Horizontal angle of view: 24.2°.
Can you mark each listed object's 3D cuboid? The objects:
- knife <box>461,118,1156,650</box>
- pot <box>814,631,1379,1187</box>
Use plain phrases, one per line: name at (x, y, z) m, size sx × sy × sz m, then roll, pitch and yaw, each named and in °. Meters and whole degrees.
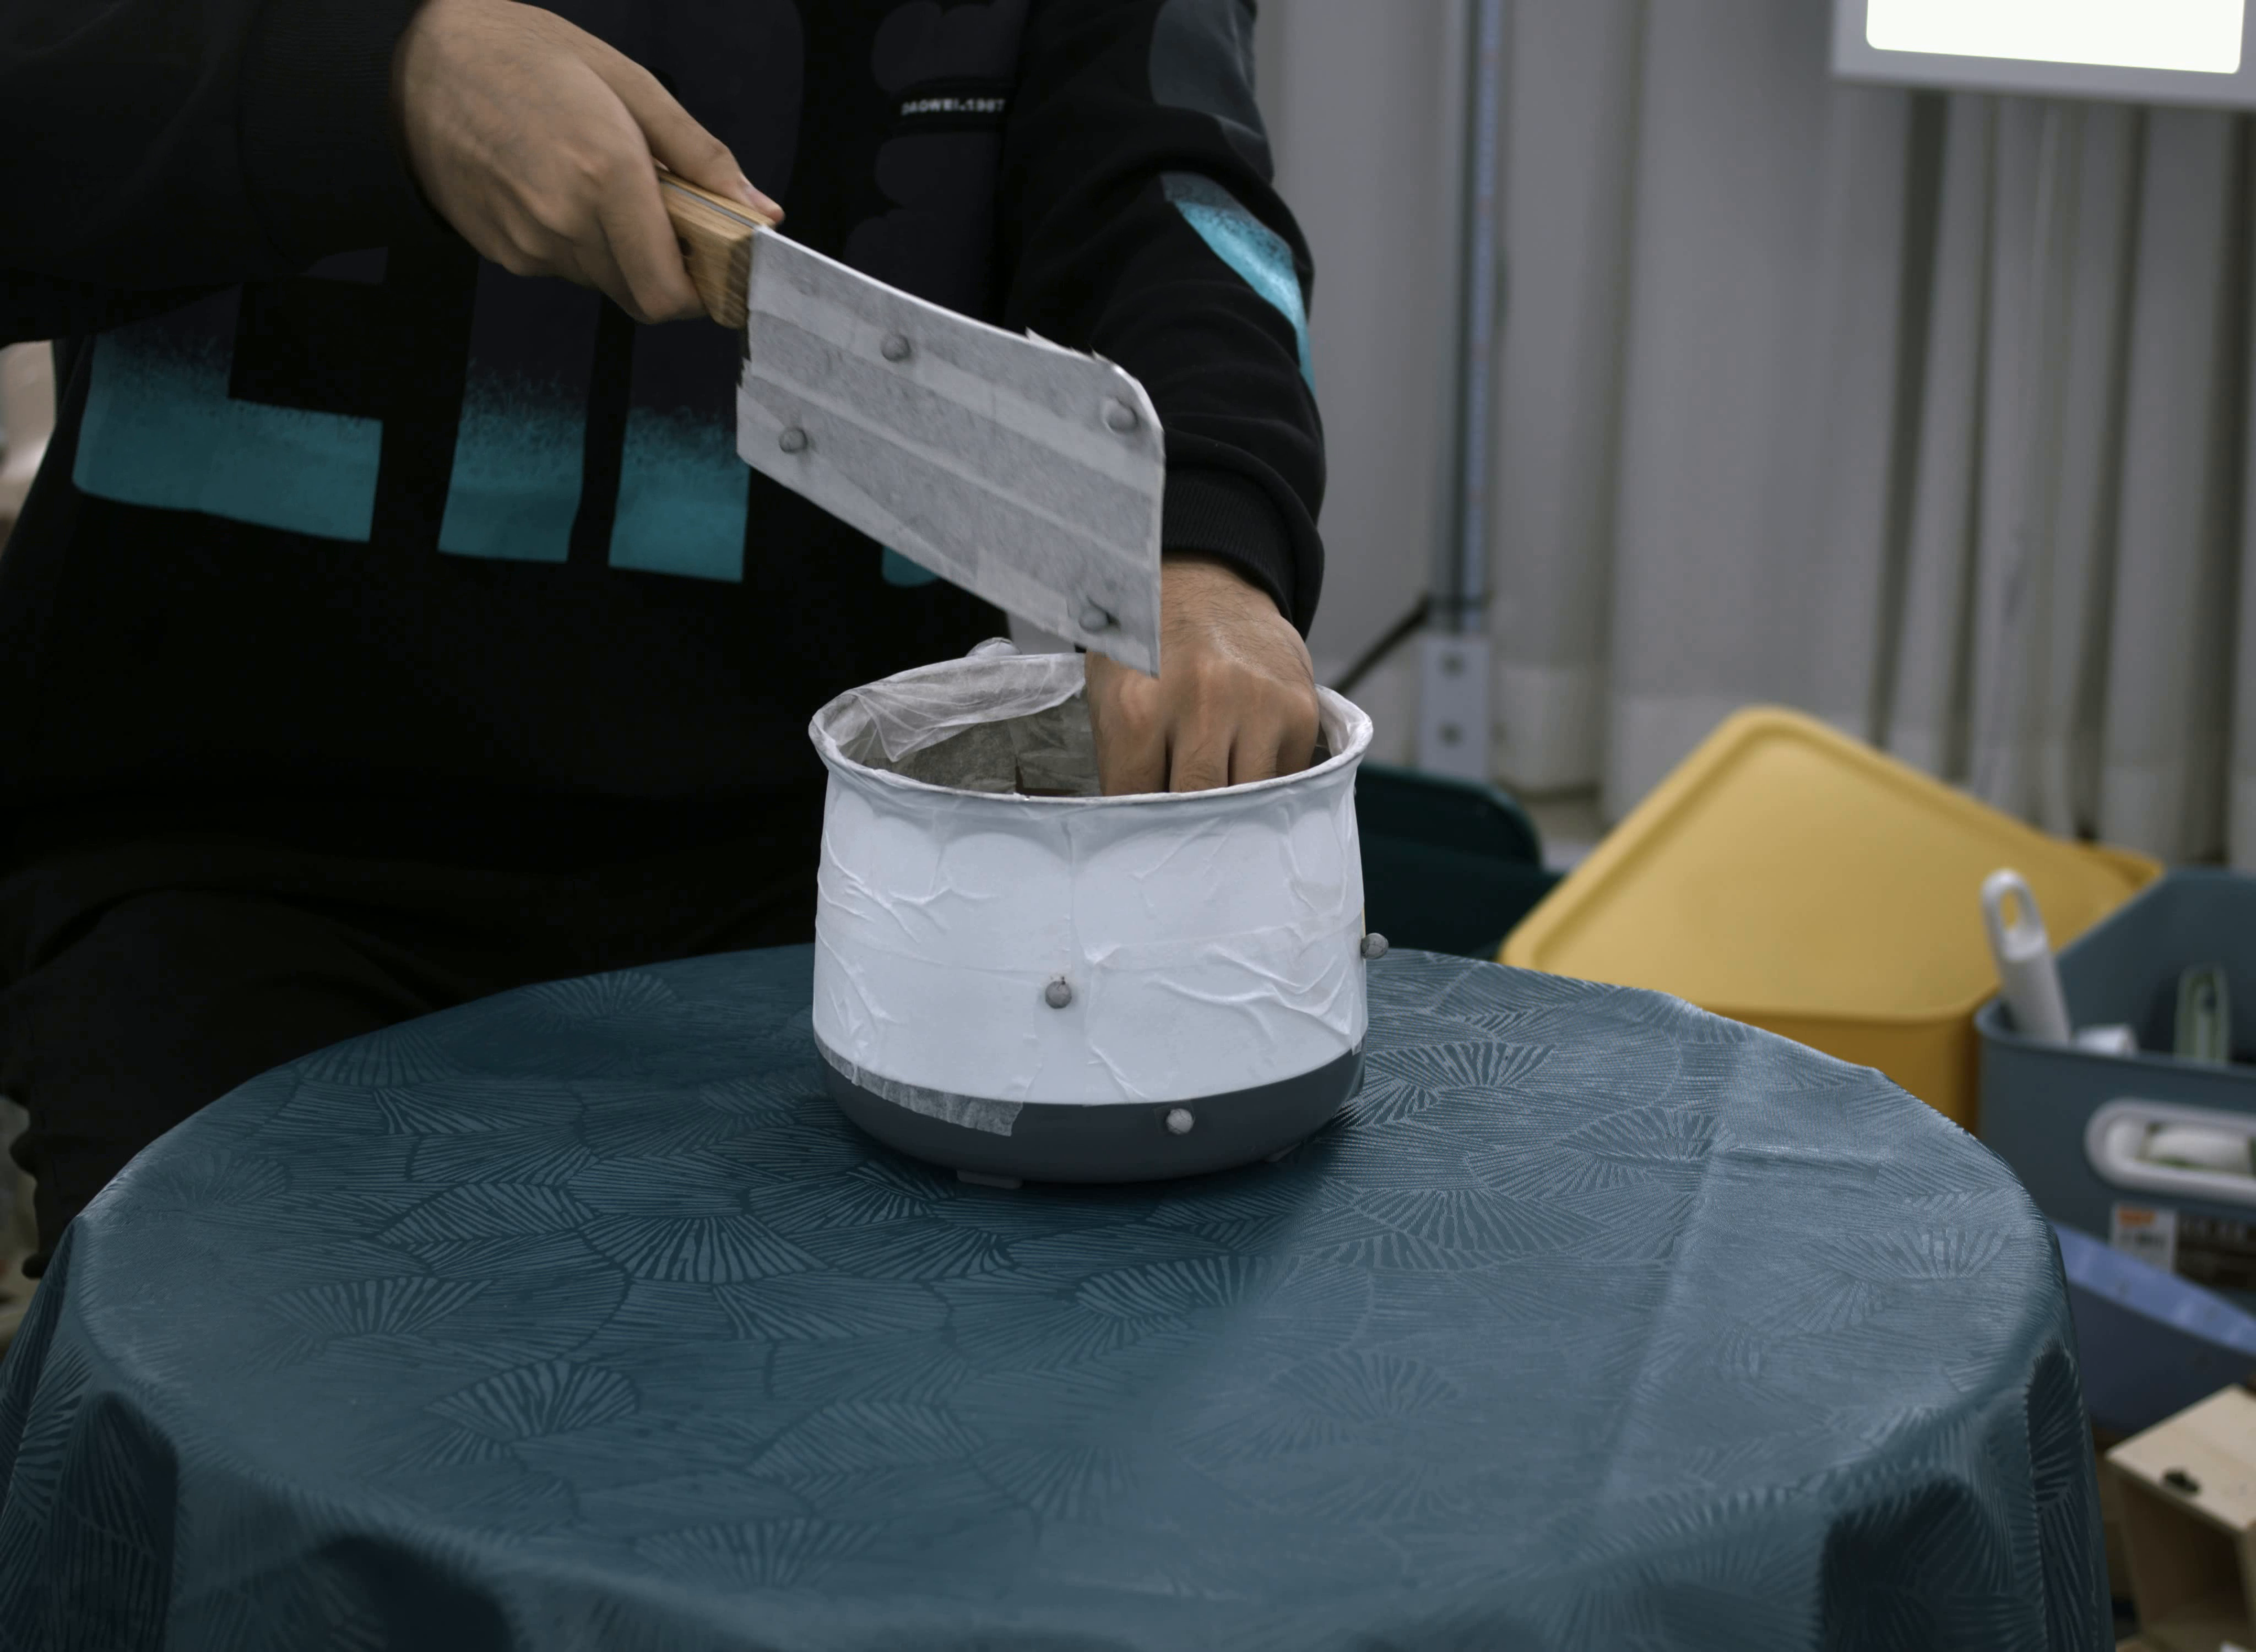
knife at (-0.102, -0.155, 1.667) m, size 0.311 × 0.115 × 0.022 m, roll 32°, pitch 41°, yaw 31°
pot at (-0.020, 0.021, 1.690) m, size 0.179 × 0.138 × 0.231 m, roll -5°, pitch 18°, yaw -20°
